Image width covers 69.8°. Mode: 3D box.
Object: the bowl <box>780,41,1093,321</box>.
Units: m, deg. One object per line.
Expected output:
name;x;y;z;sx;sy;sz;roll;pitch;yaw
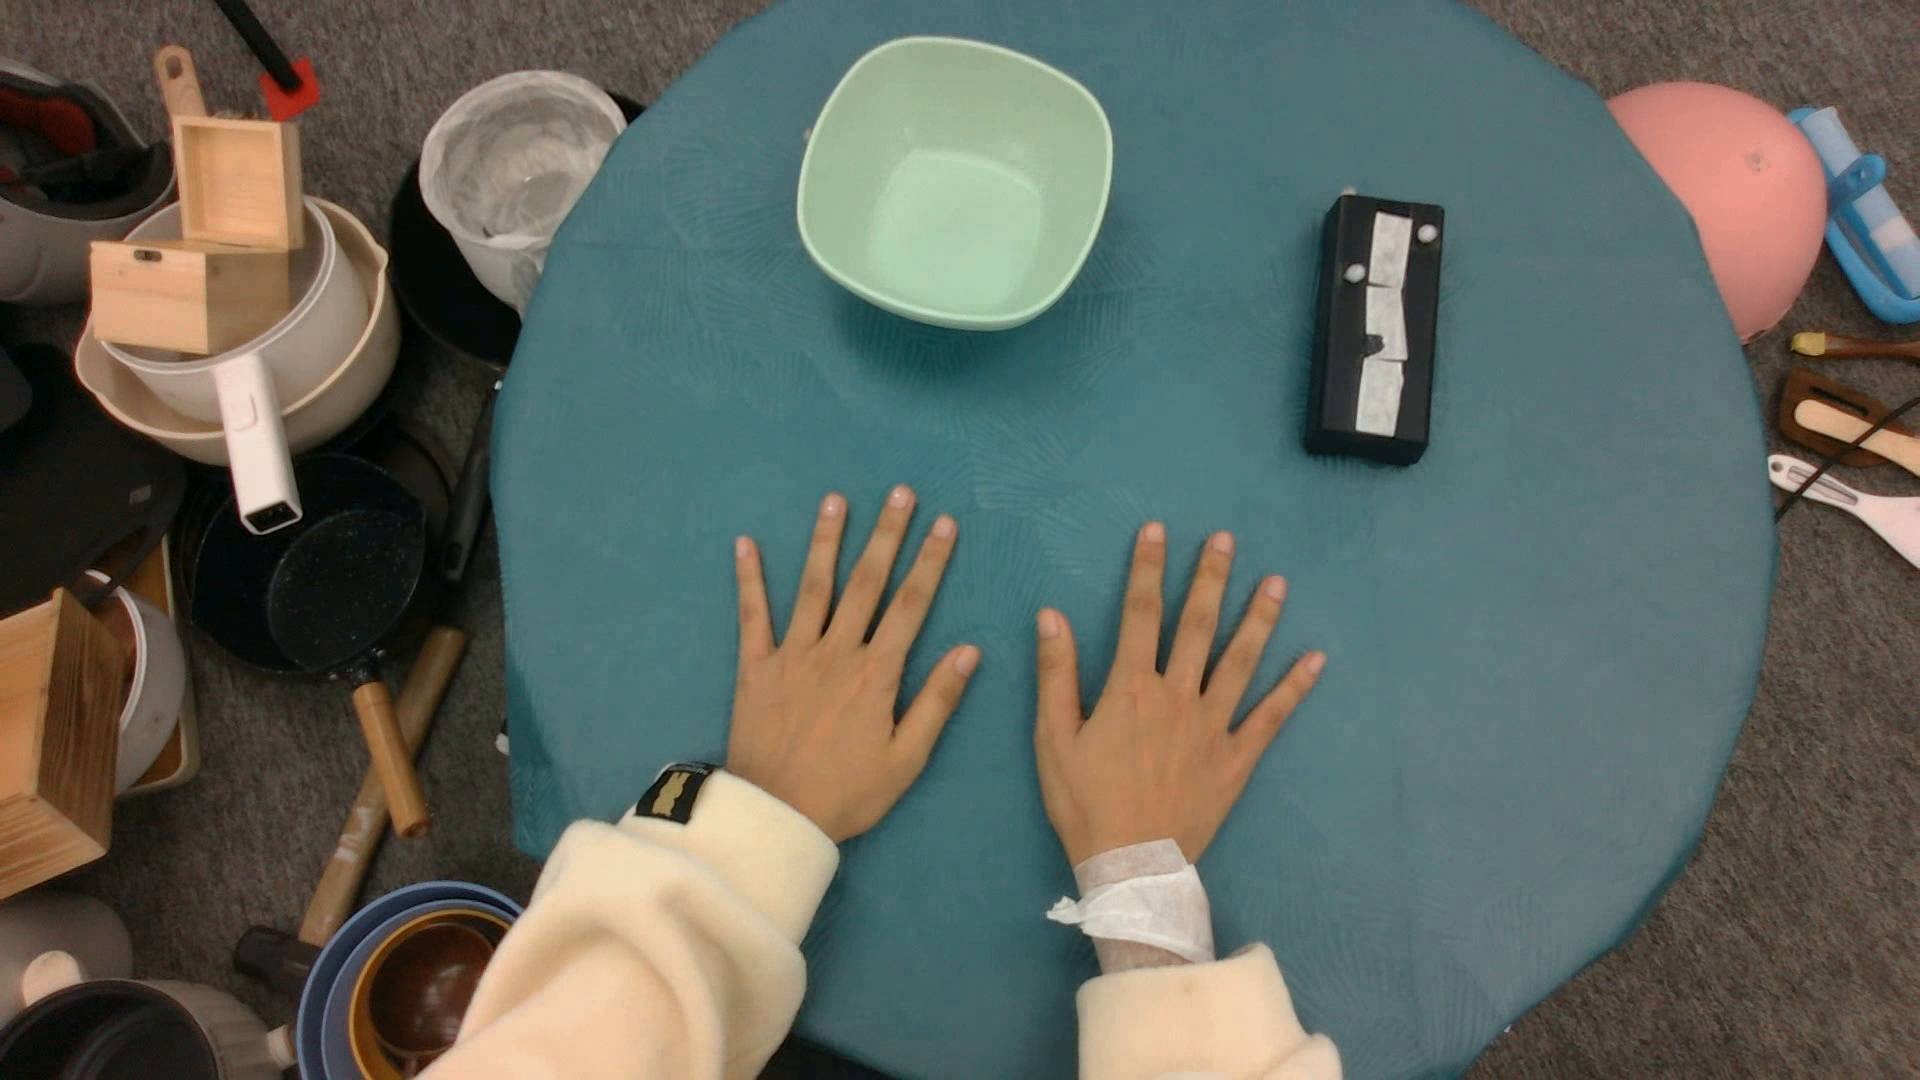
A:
bowl;-0.009;-0.160;0.655;0.151;0.058;0.152;0;72;1

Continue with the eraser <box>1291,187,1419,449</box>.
eraser;0.188;-0.107;0.658;0.053;0.030;0.126;6;76;3
